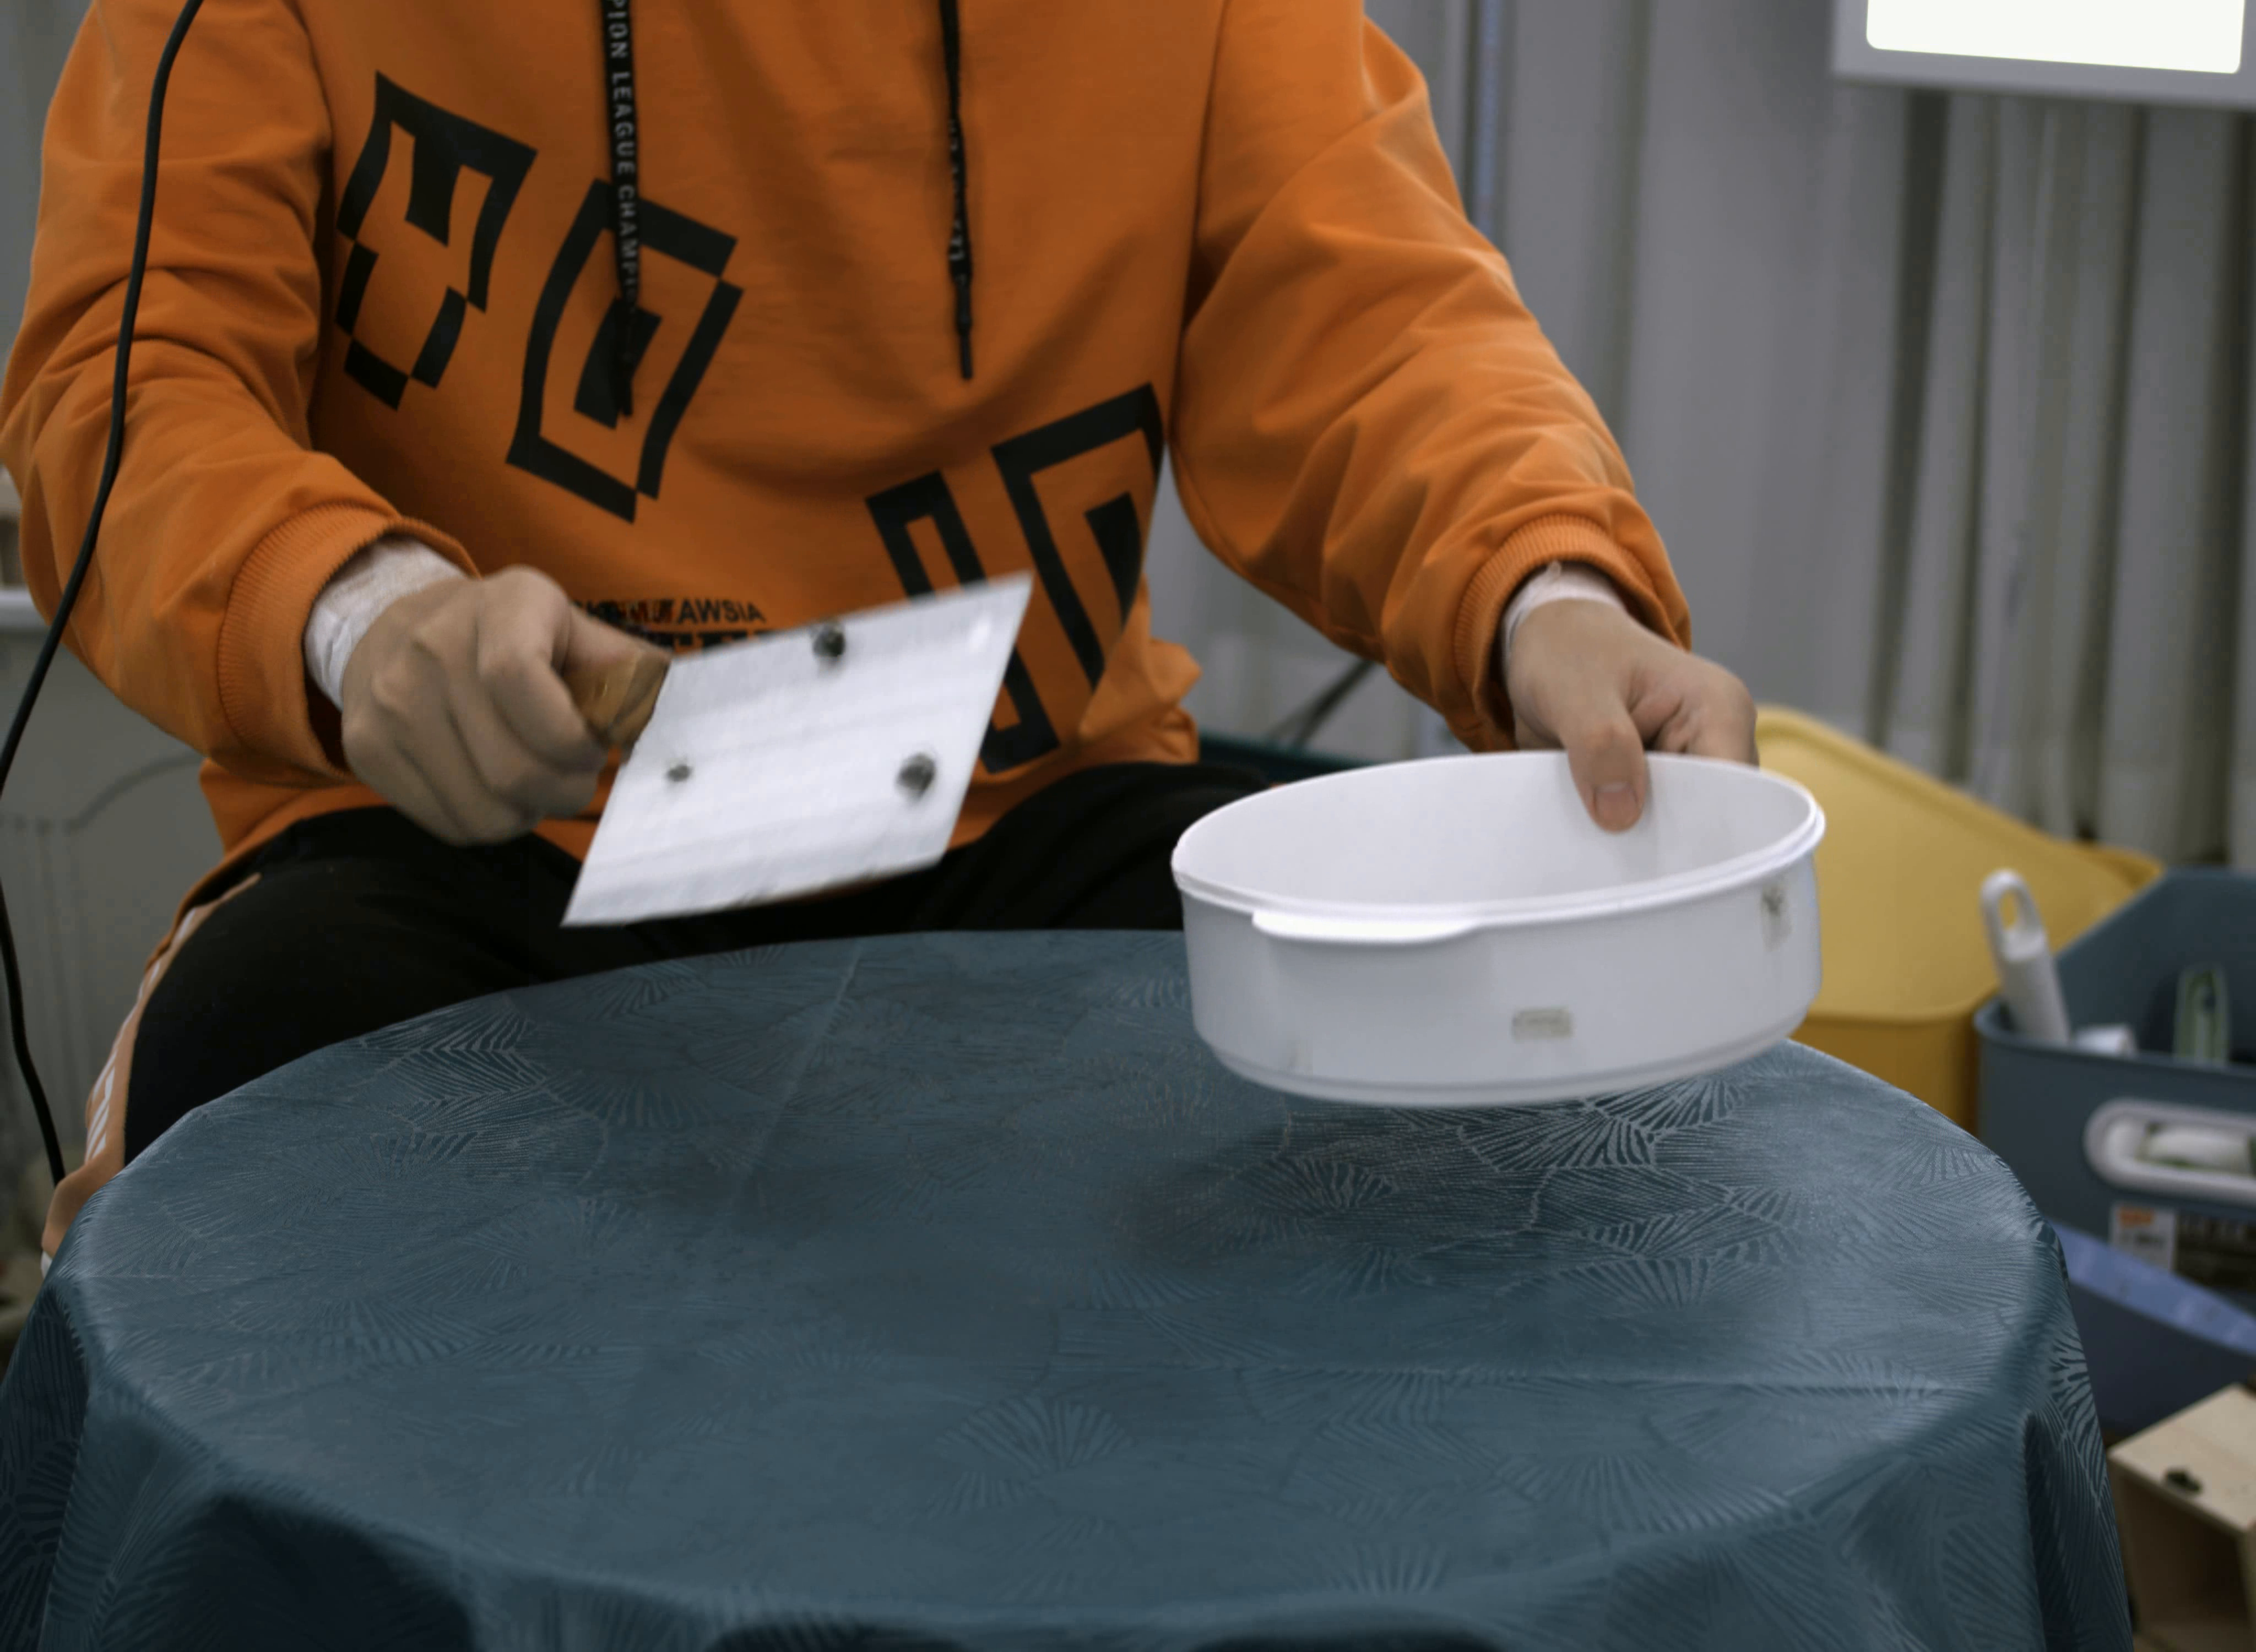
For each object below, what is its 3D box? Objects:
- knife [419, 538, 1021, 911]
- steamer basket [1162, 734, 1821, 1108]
[{"bbox_3d":[-0.131,-0.022,1.567,0.021,0.092,0.303,26,-23,-33],"label":"knife"},{"bbox_3d":[0.113,0.029,1.608,0.200,0.070,0.231,1,16,28],"label":"steamer basket"}]
